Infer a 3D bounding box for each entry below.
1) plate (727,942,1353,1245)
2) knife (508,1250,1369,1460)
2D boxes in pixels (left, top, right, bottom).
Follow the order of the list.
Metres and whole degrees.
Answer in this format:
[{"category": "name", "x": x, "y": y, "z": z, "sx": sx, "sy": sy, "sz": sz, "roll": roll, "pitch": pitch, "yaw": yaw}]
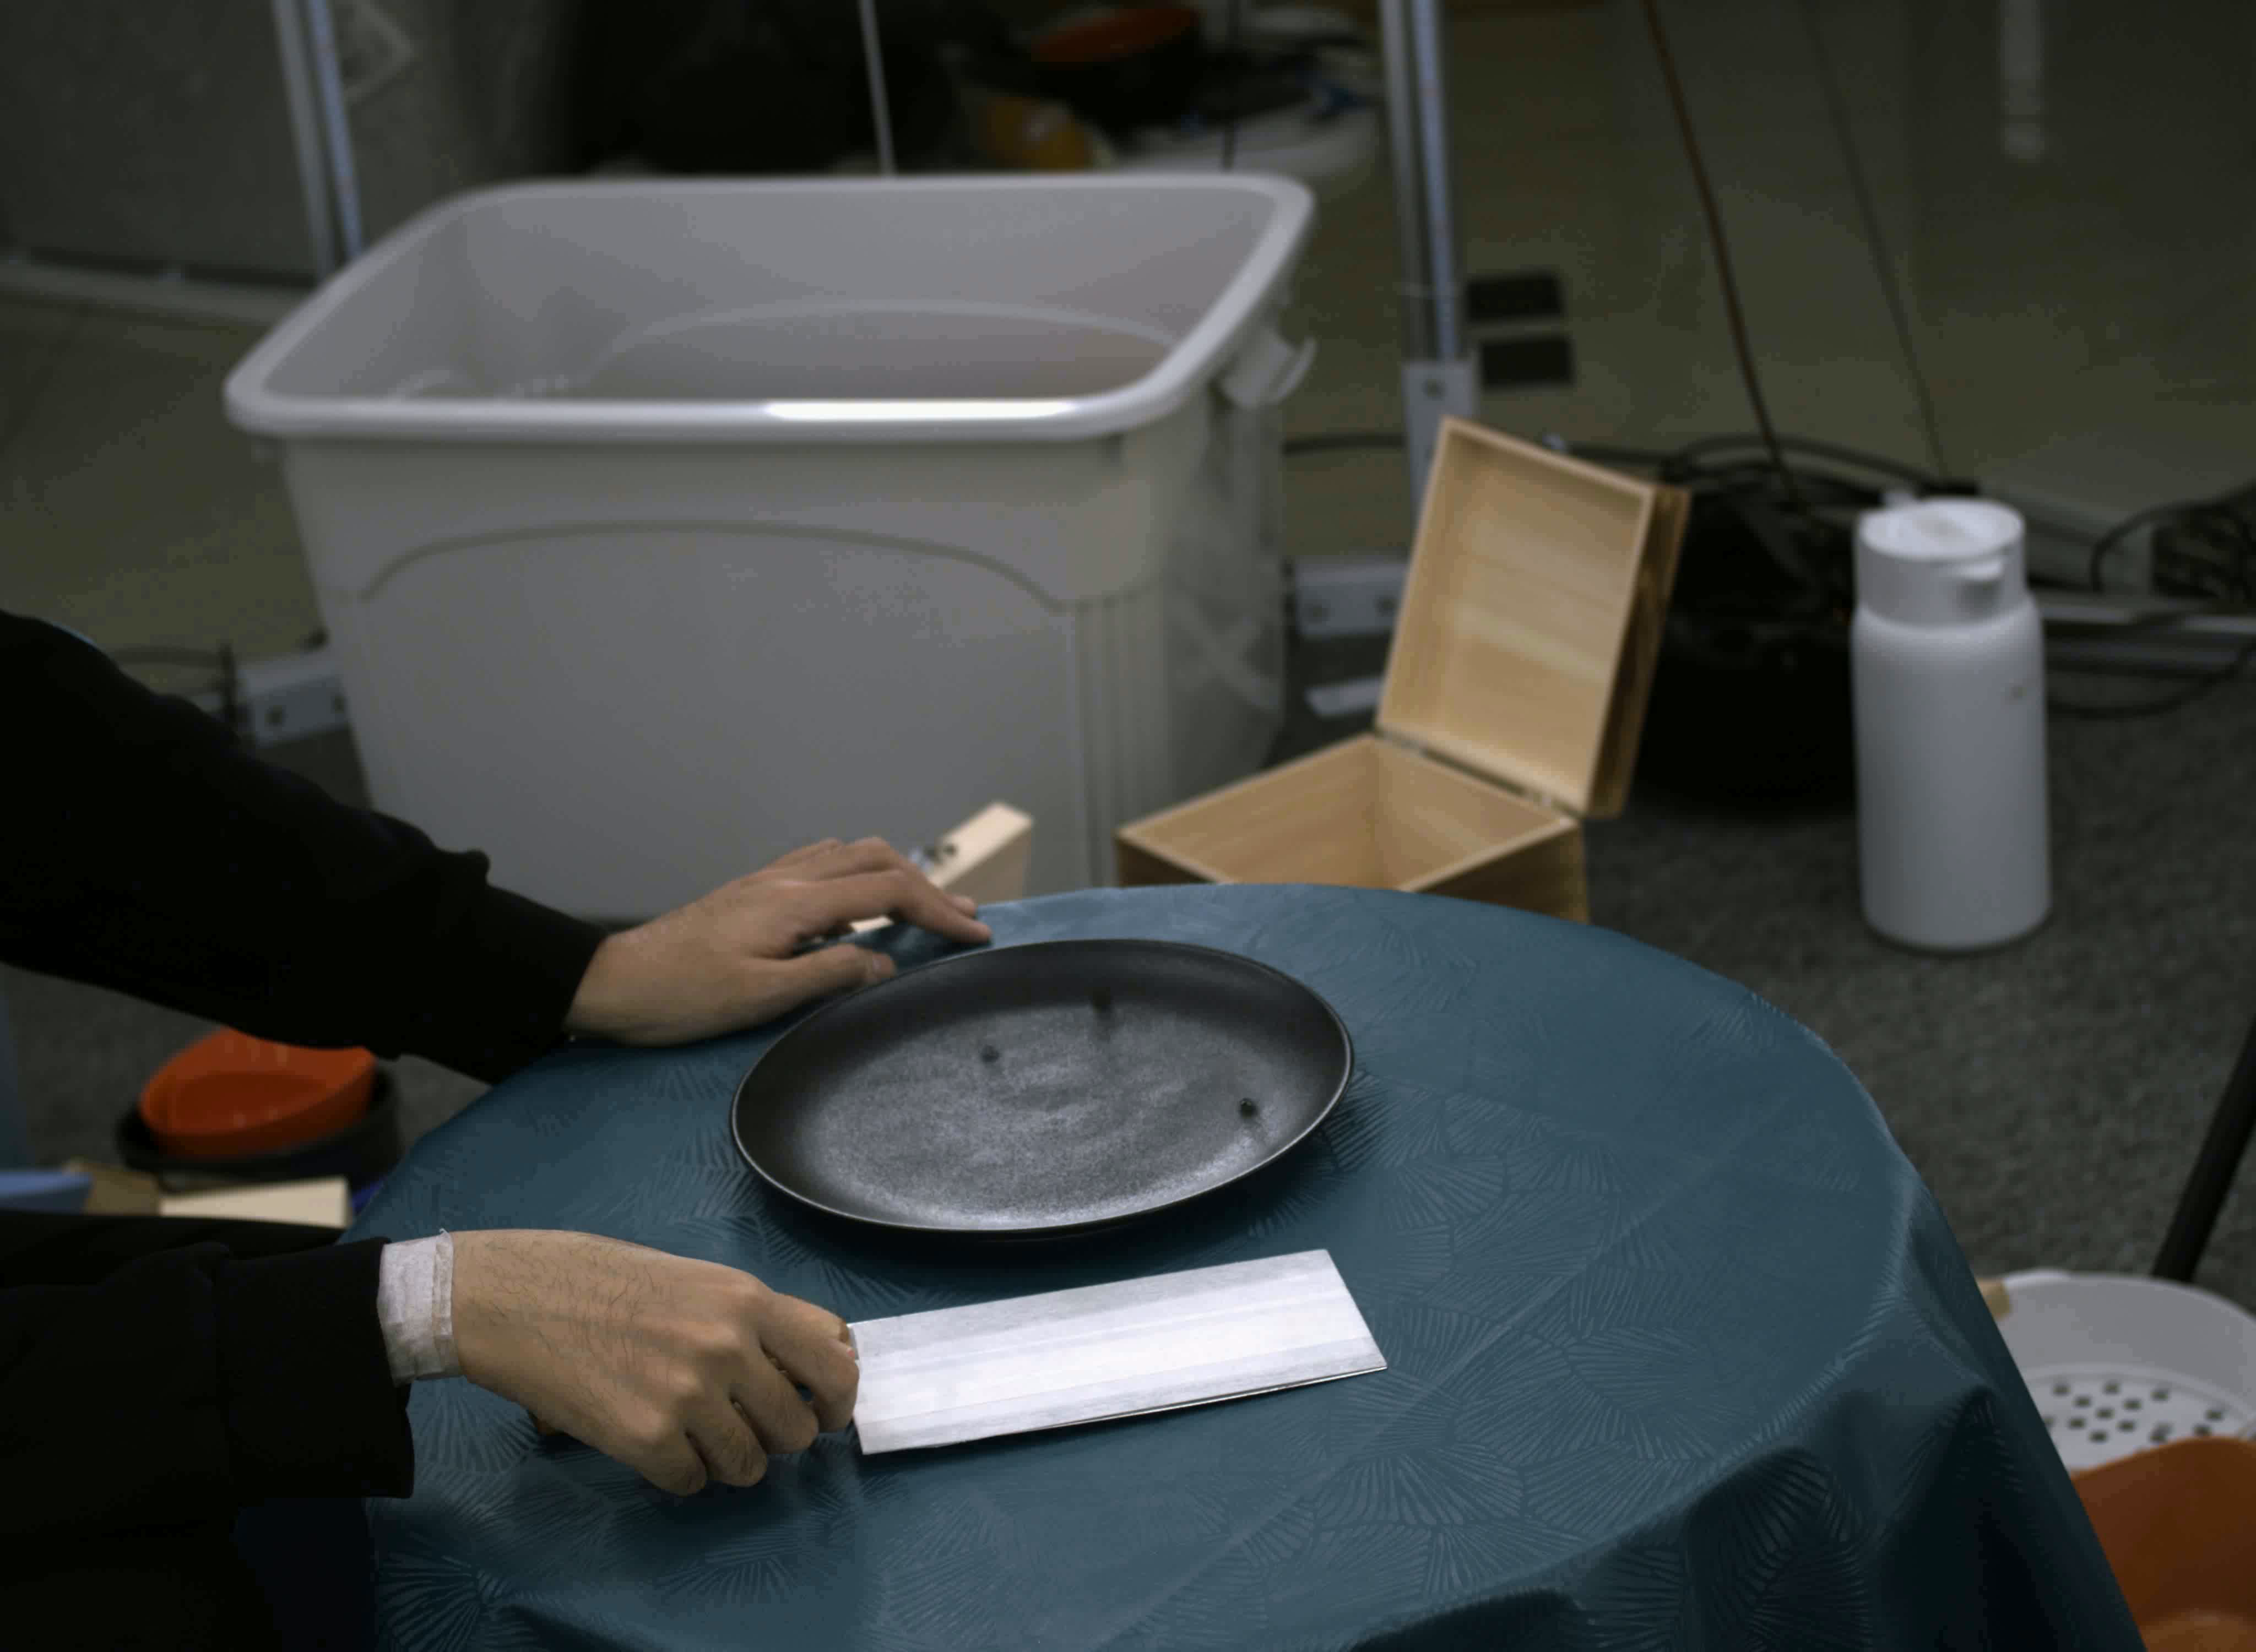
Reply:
[{"category": "plate", "x": -0.033, "y": 0.108, "z": 2.193, "sx": 0.244, "sy": 0.024, "sz": 0.241, "roll": -5, "pitch": 25, "yaw": 3}, {"category": "knife", "x": -0.066, "y": 0.195, "z": 2.025, "sx": 0.305, "sy": 0.021, "sz": 0.091, "roll": -8, "pitch": 27, "yaw": -9}]
